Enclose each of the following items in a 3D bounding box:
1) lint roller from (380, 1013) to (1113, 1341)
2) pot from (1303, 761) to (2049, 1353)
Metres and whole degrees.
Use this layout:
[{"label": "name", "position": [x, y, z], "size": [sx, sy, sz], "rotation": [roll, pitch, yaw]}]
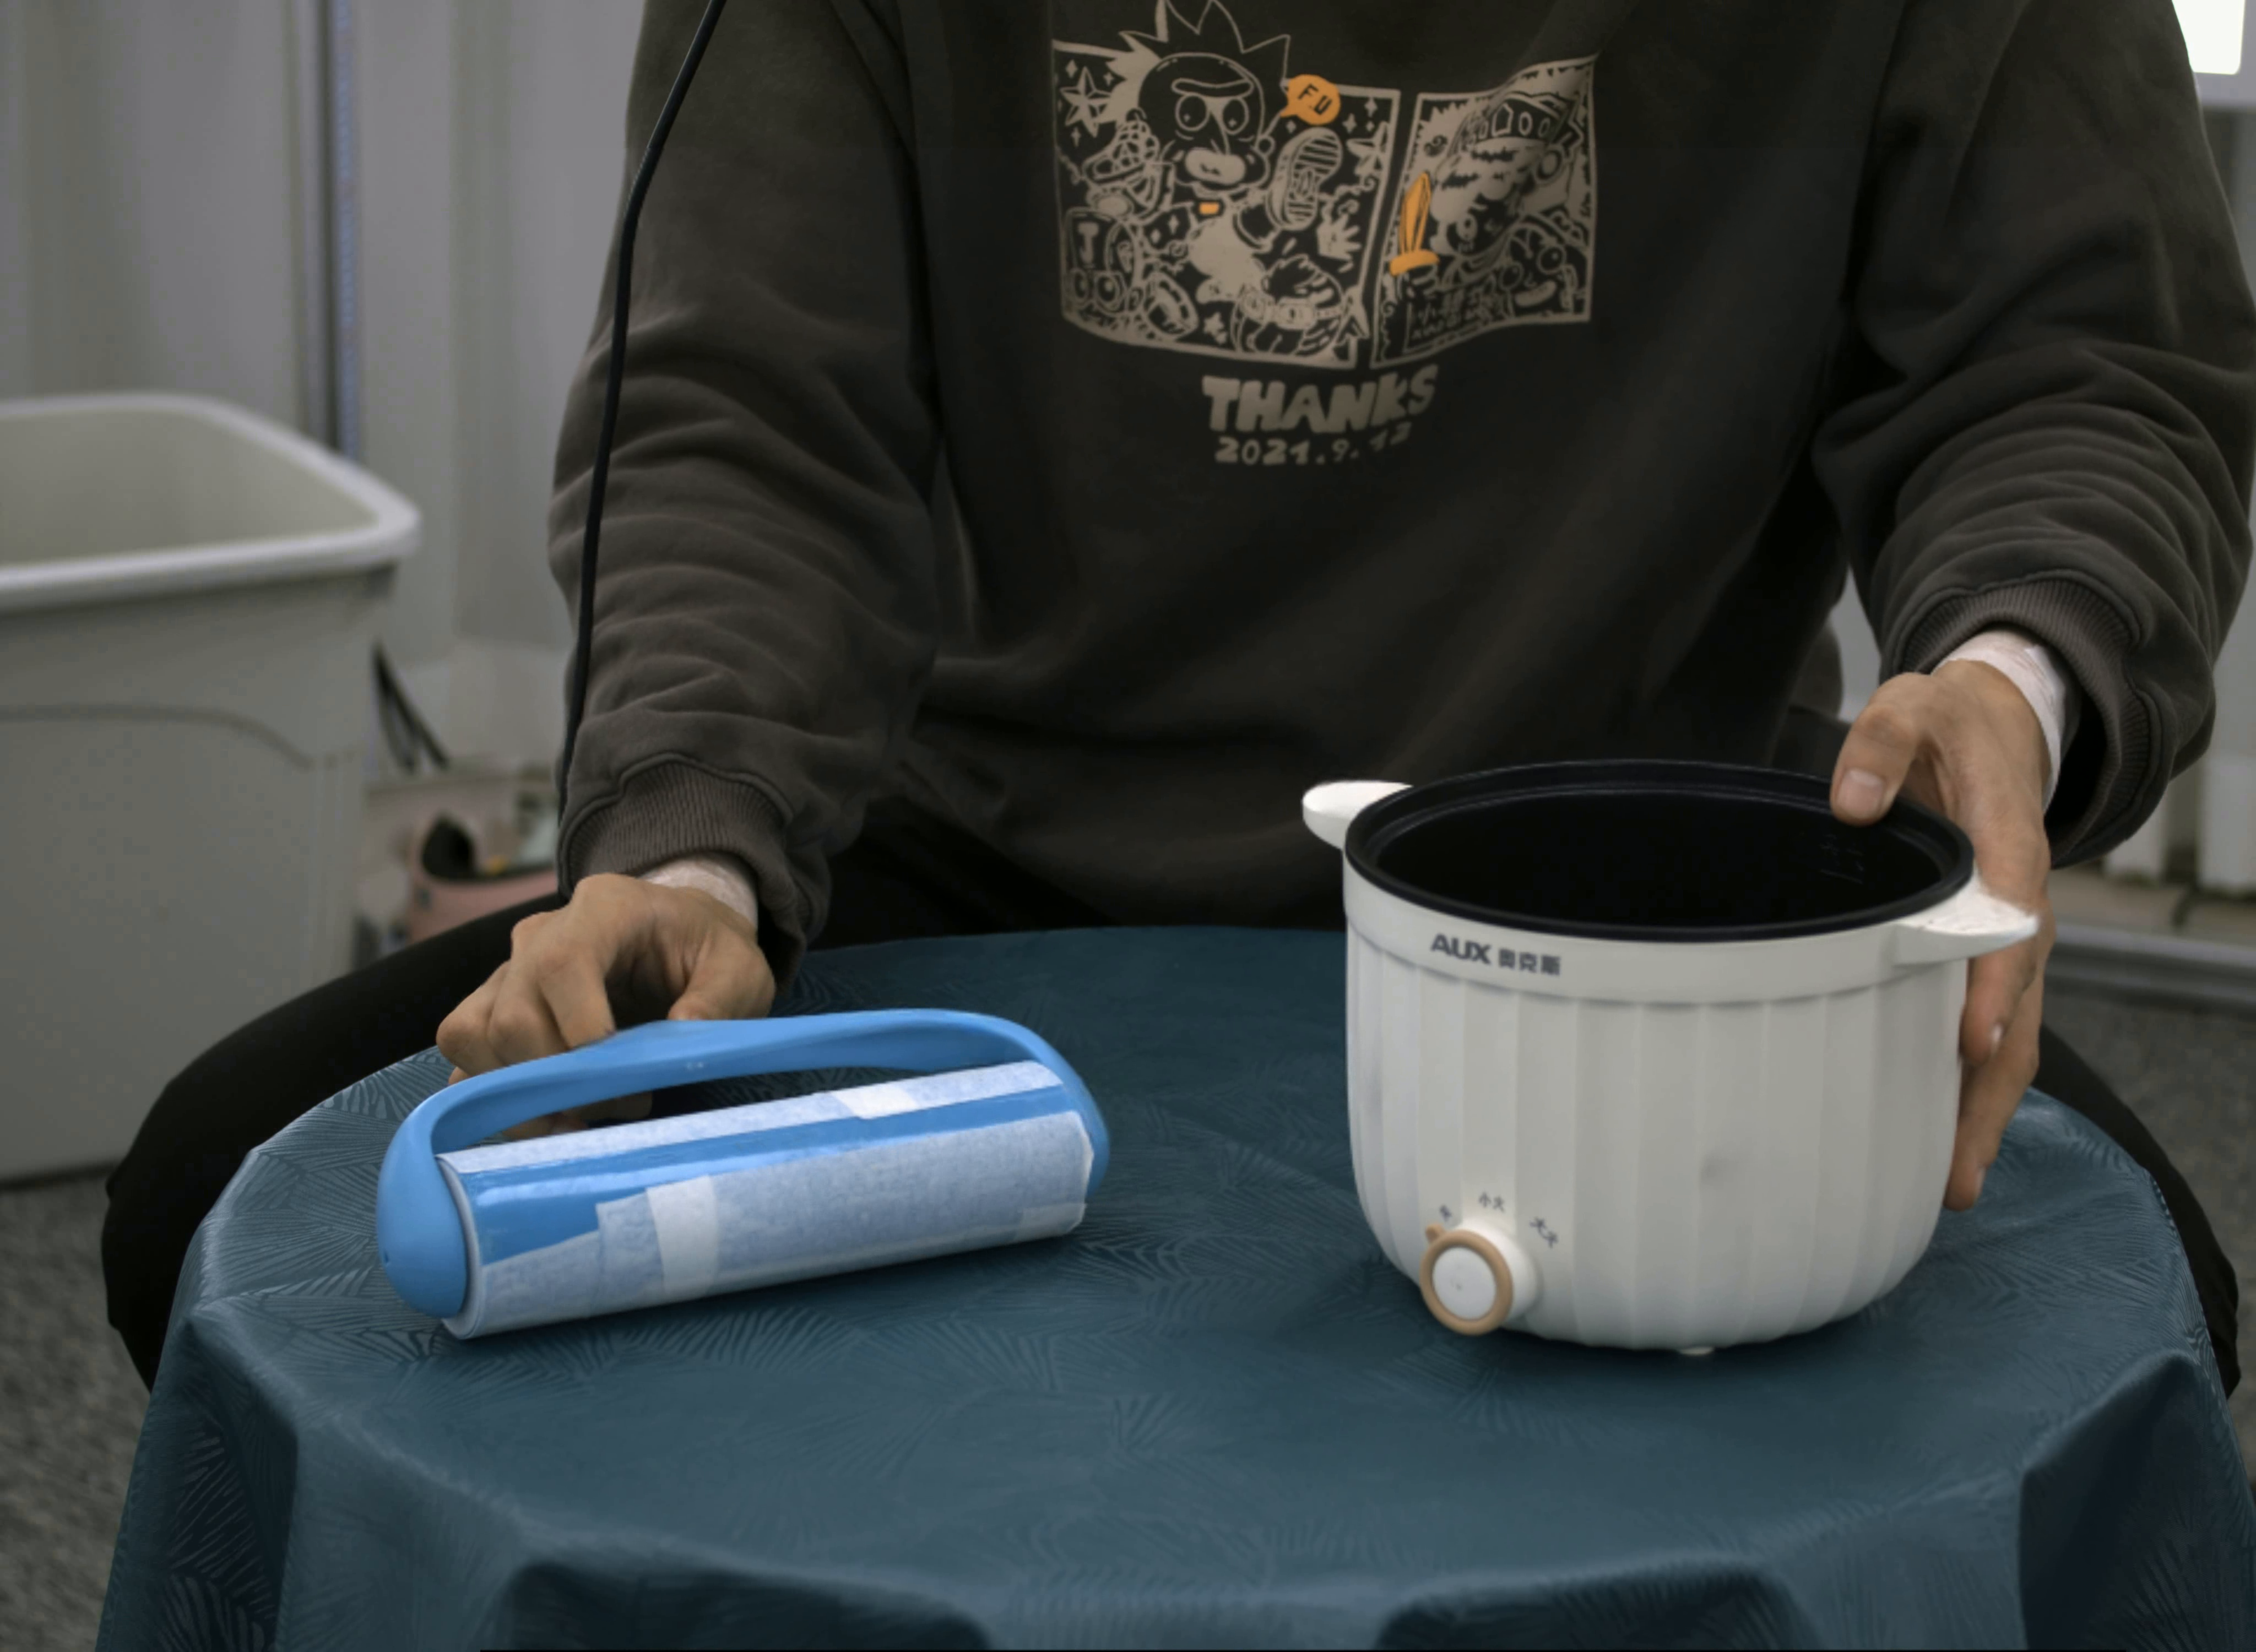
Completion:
[{"label": "lint roller", "position": [-0.138, 0.091, 1.589], "size": [0.230, 0.068, 0.178], "rotation": [-10, 21, -29]}, {"label": "pot", "position": [0.151, 0.069, 1.531], "size": [0.237, 0.143, 0.191], "rotation": [10, 15, 33]}]
